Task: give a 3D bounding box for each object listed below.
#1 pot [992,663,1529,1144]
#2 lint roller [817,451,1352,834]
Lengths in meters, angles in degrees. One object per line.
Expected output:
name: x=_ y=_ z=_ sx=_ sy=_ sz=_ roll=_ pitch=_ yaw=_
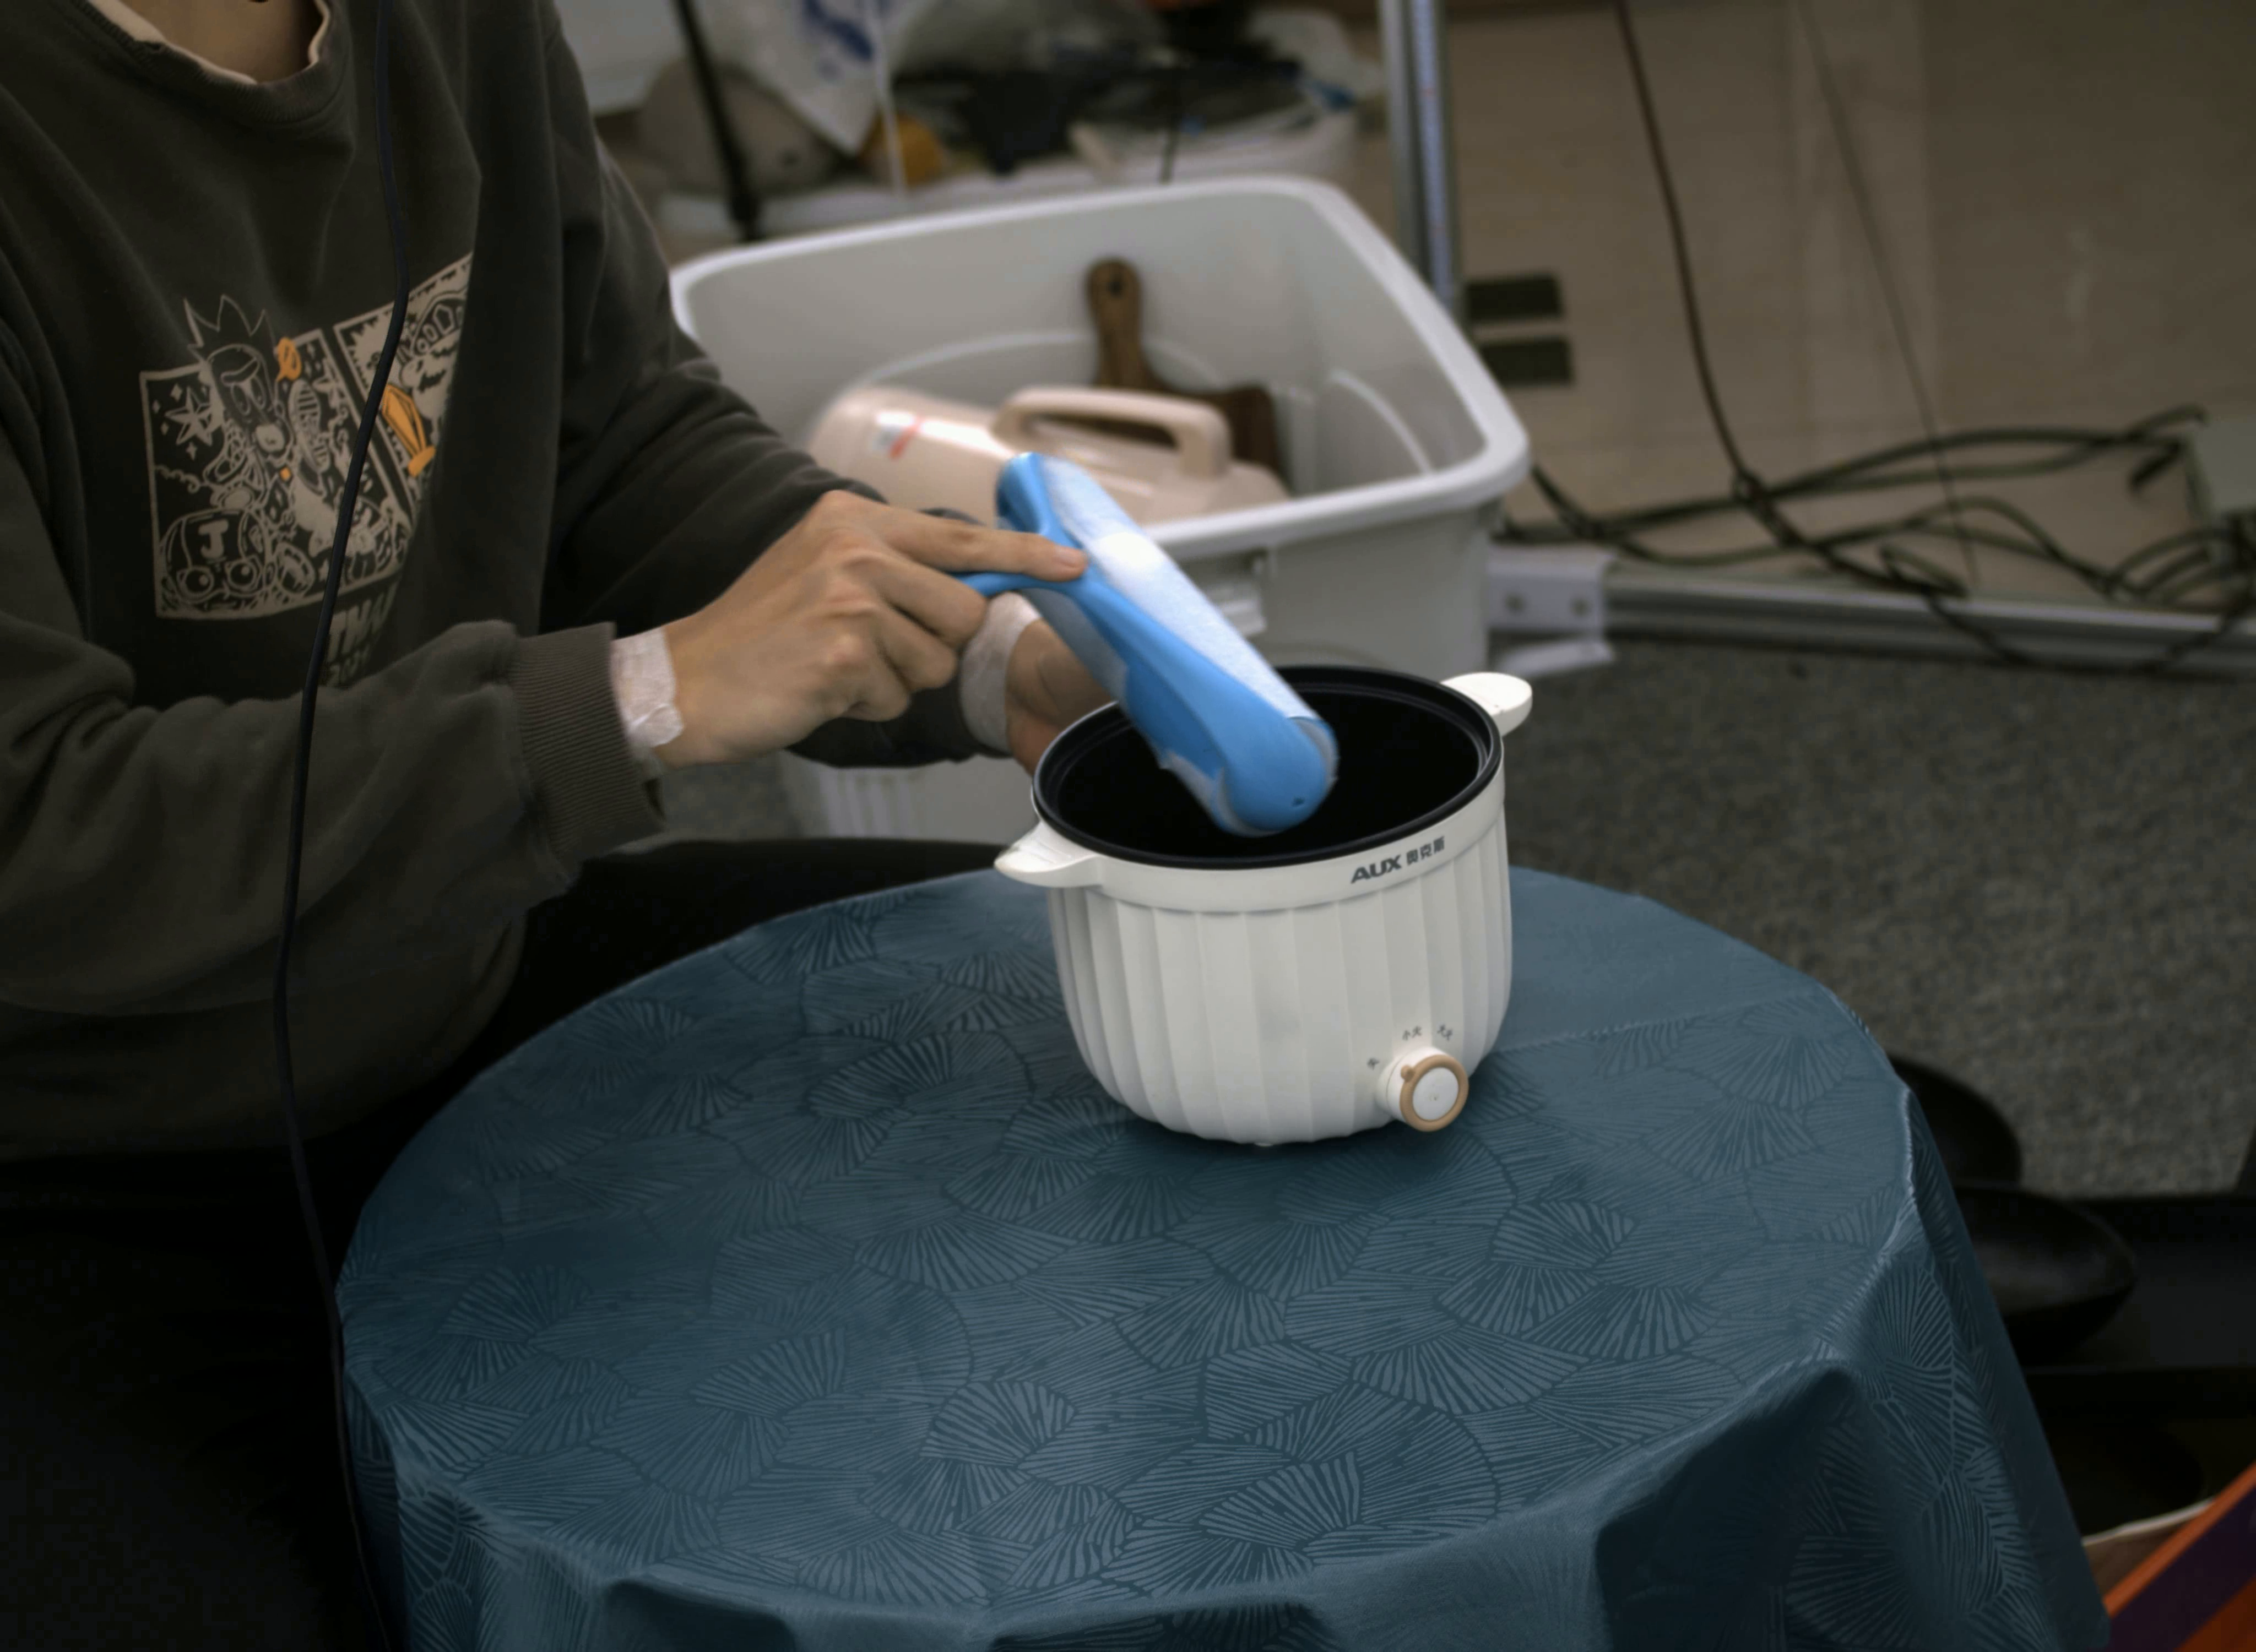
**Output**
pot: x=0.064 y=0.035 z=2.187 sx=0.239 sy=0.145 sz=0.189 roll=-21 pitch=26 yaw=-26
lint roller: x=-0.029 y=-0.075 z=2.145 sx=0.180 sy=0.069 sz=0.225 roll=7 pitch=29 yaw=-38
